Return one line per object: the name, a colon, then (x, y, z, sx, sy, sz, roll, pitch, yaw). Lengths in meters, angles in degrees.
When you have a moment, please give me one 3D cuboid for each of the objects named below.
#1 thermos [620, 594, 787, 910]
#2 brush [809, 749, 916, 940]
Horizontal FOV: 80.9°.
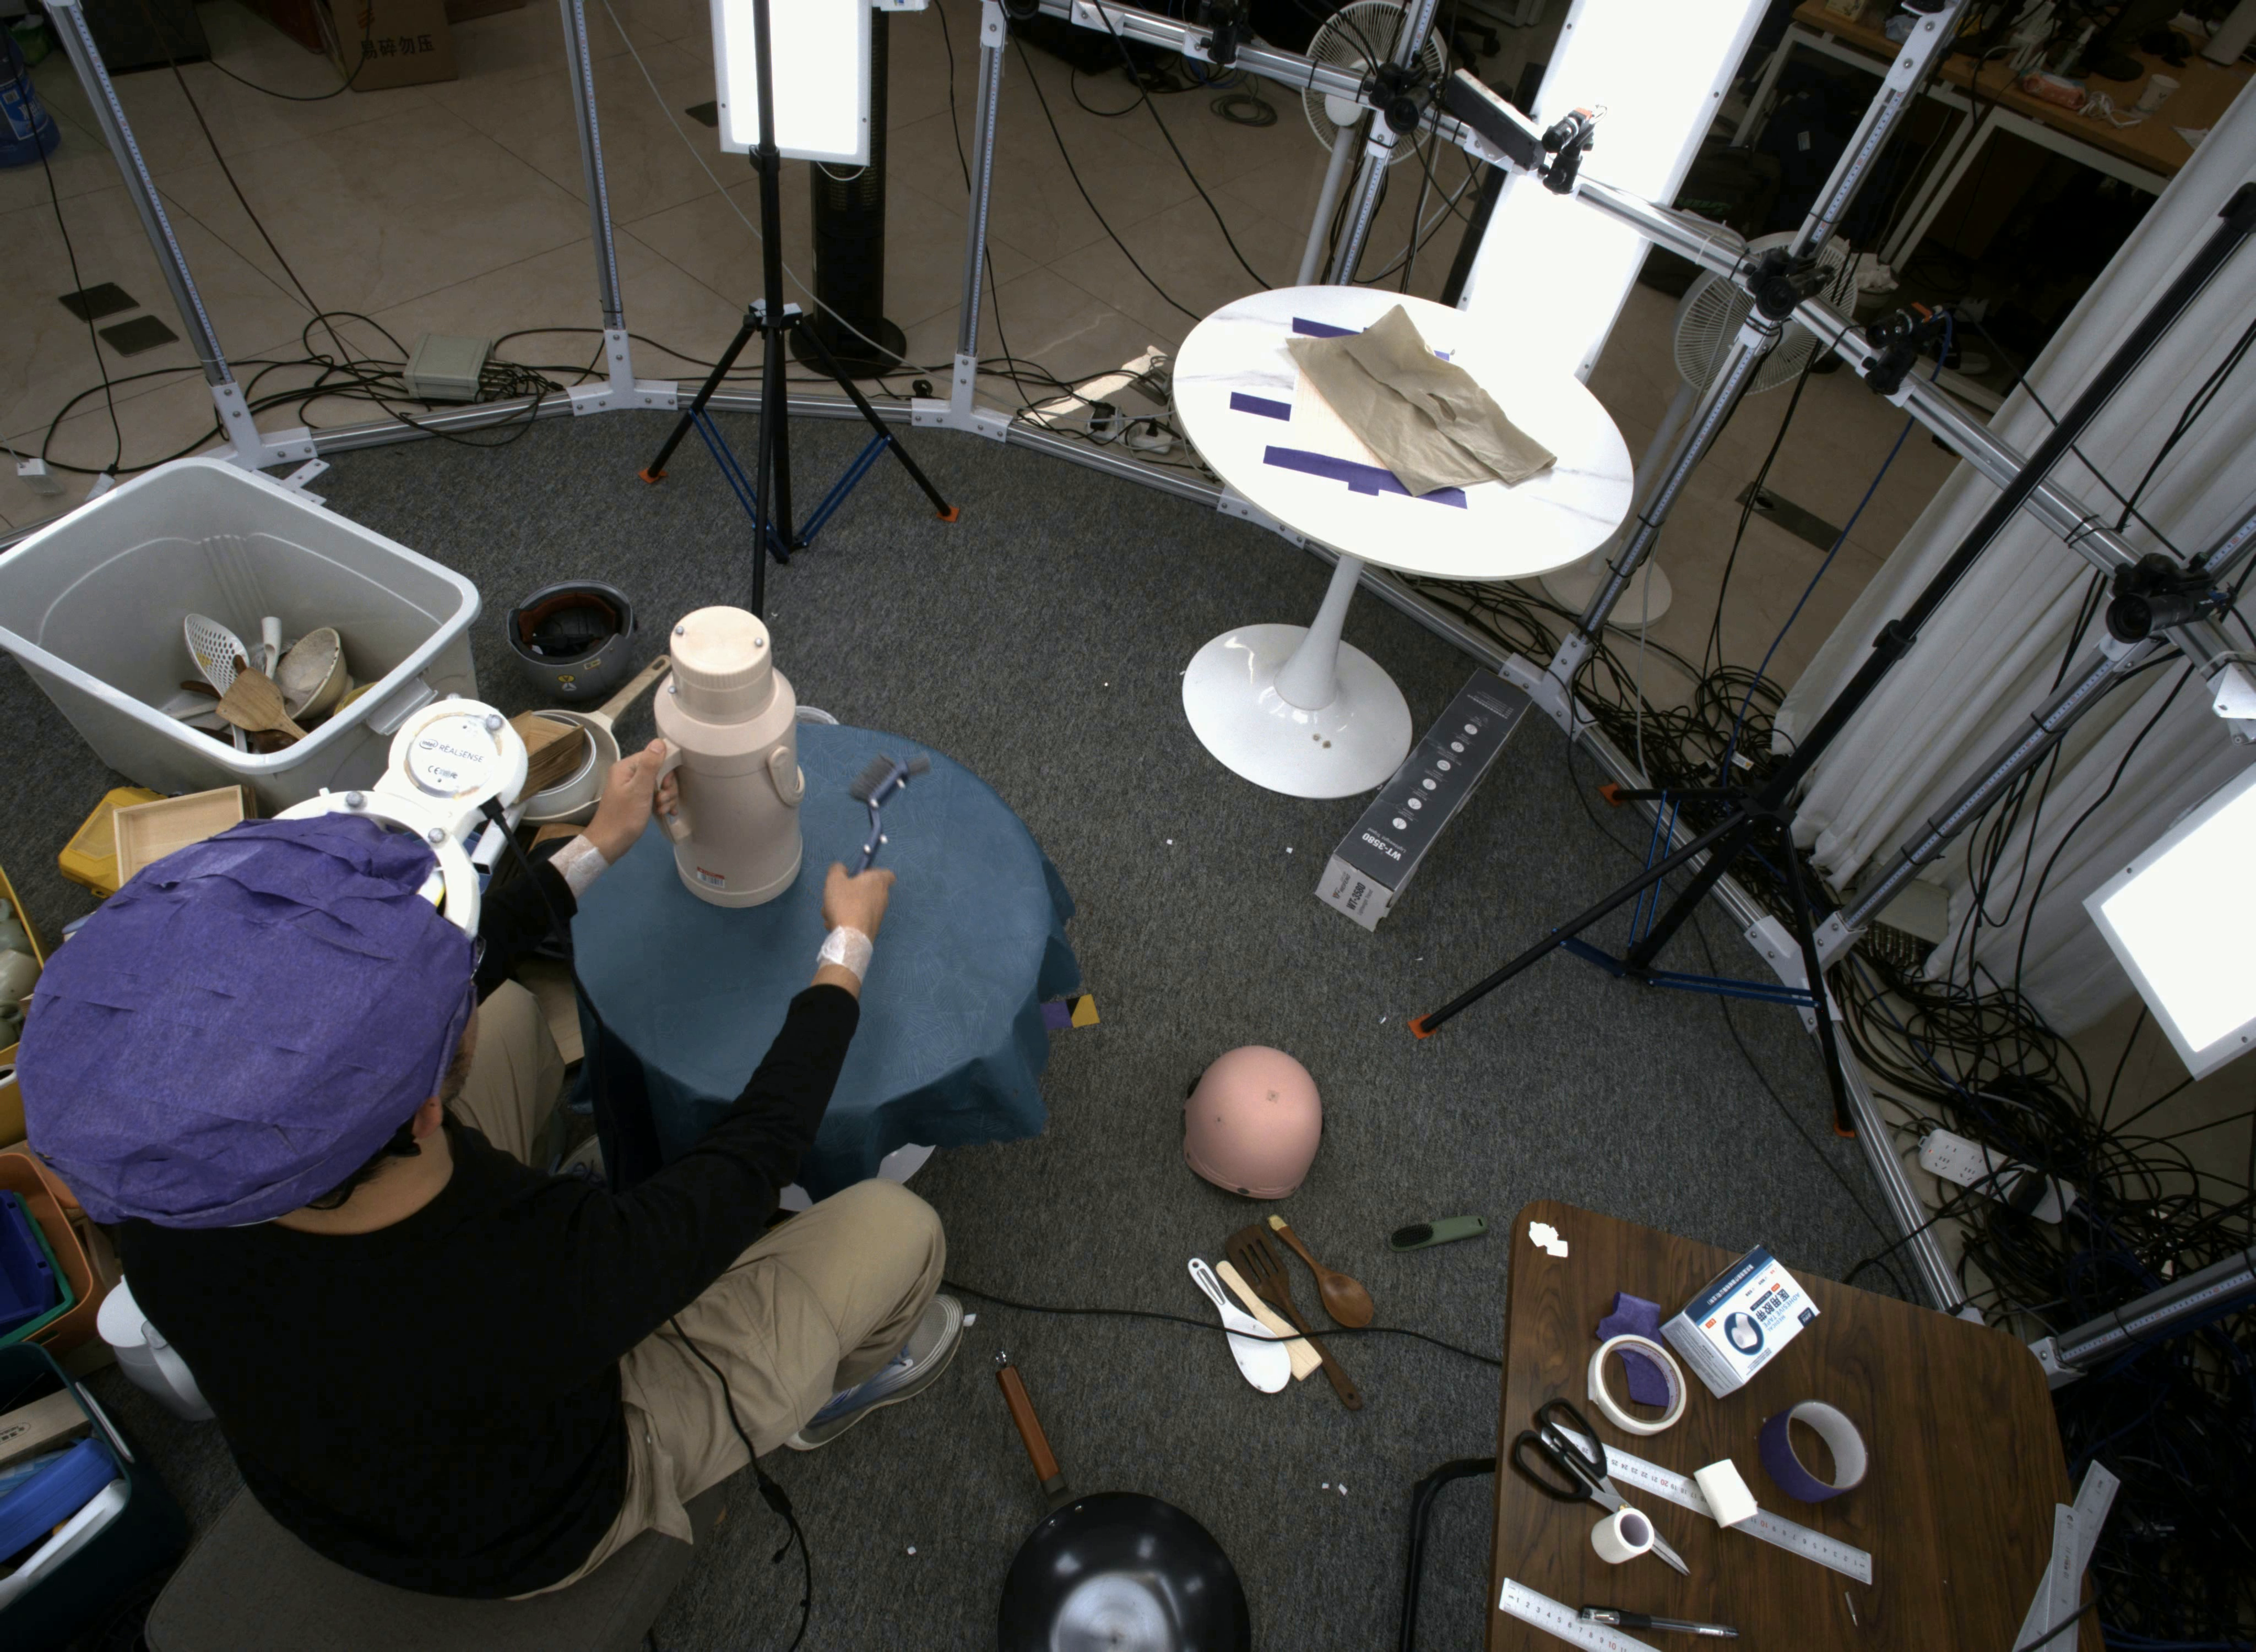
thermos: (-0.497, -0.075, 1.498, 0.172, 0.414, 0.207, 34, 53, 13)
brush: (-0.311, 0.013, 1.510, 0.095, 0.034, 0.269, 10, 54, -9)
